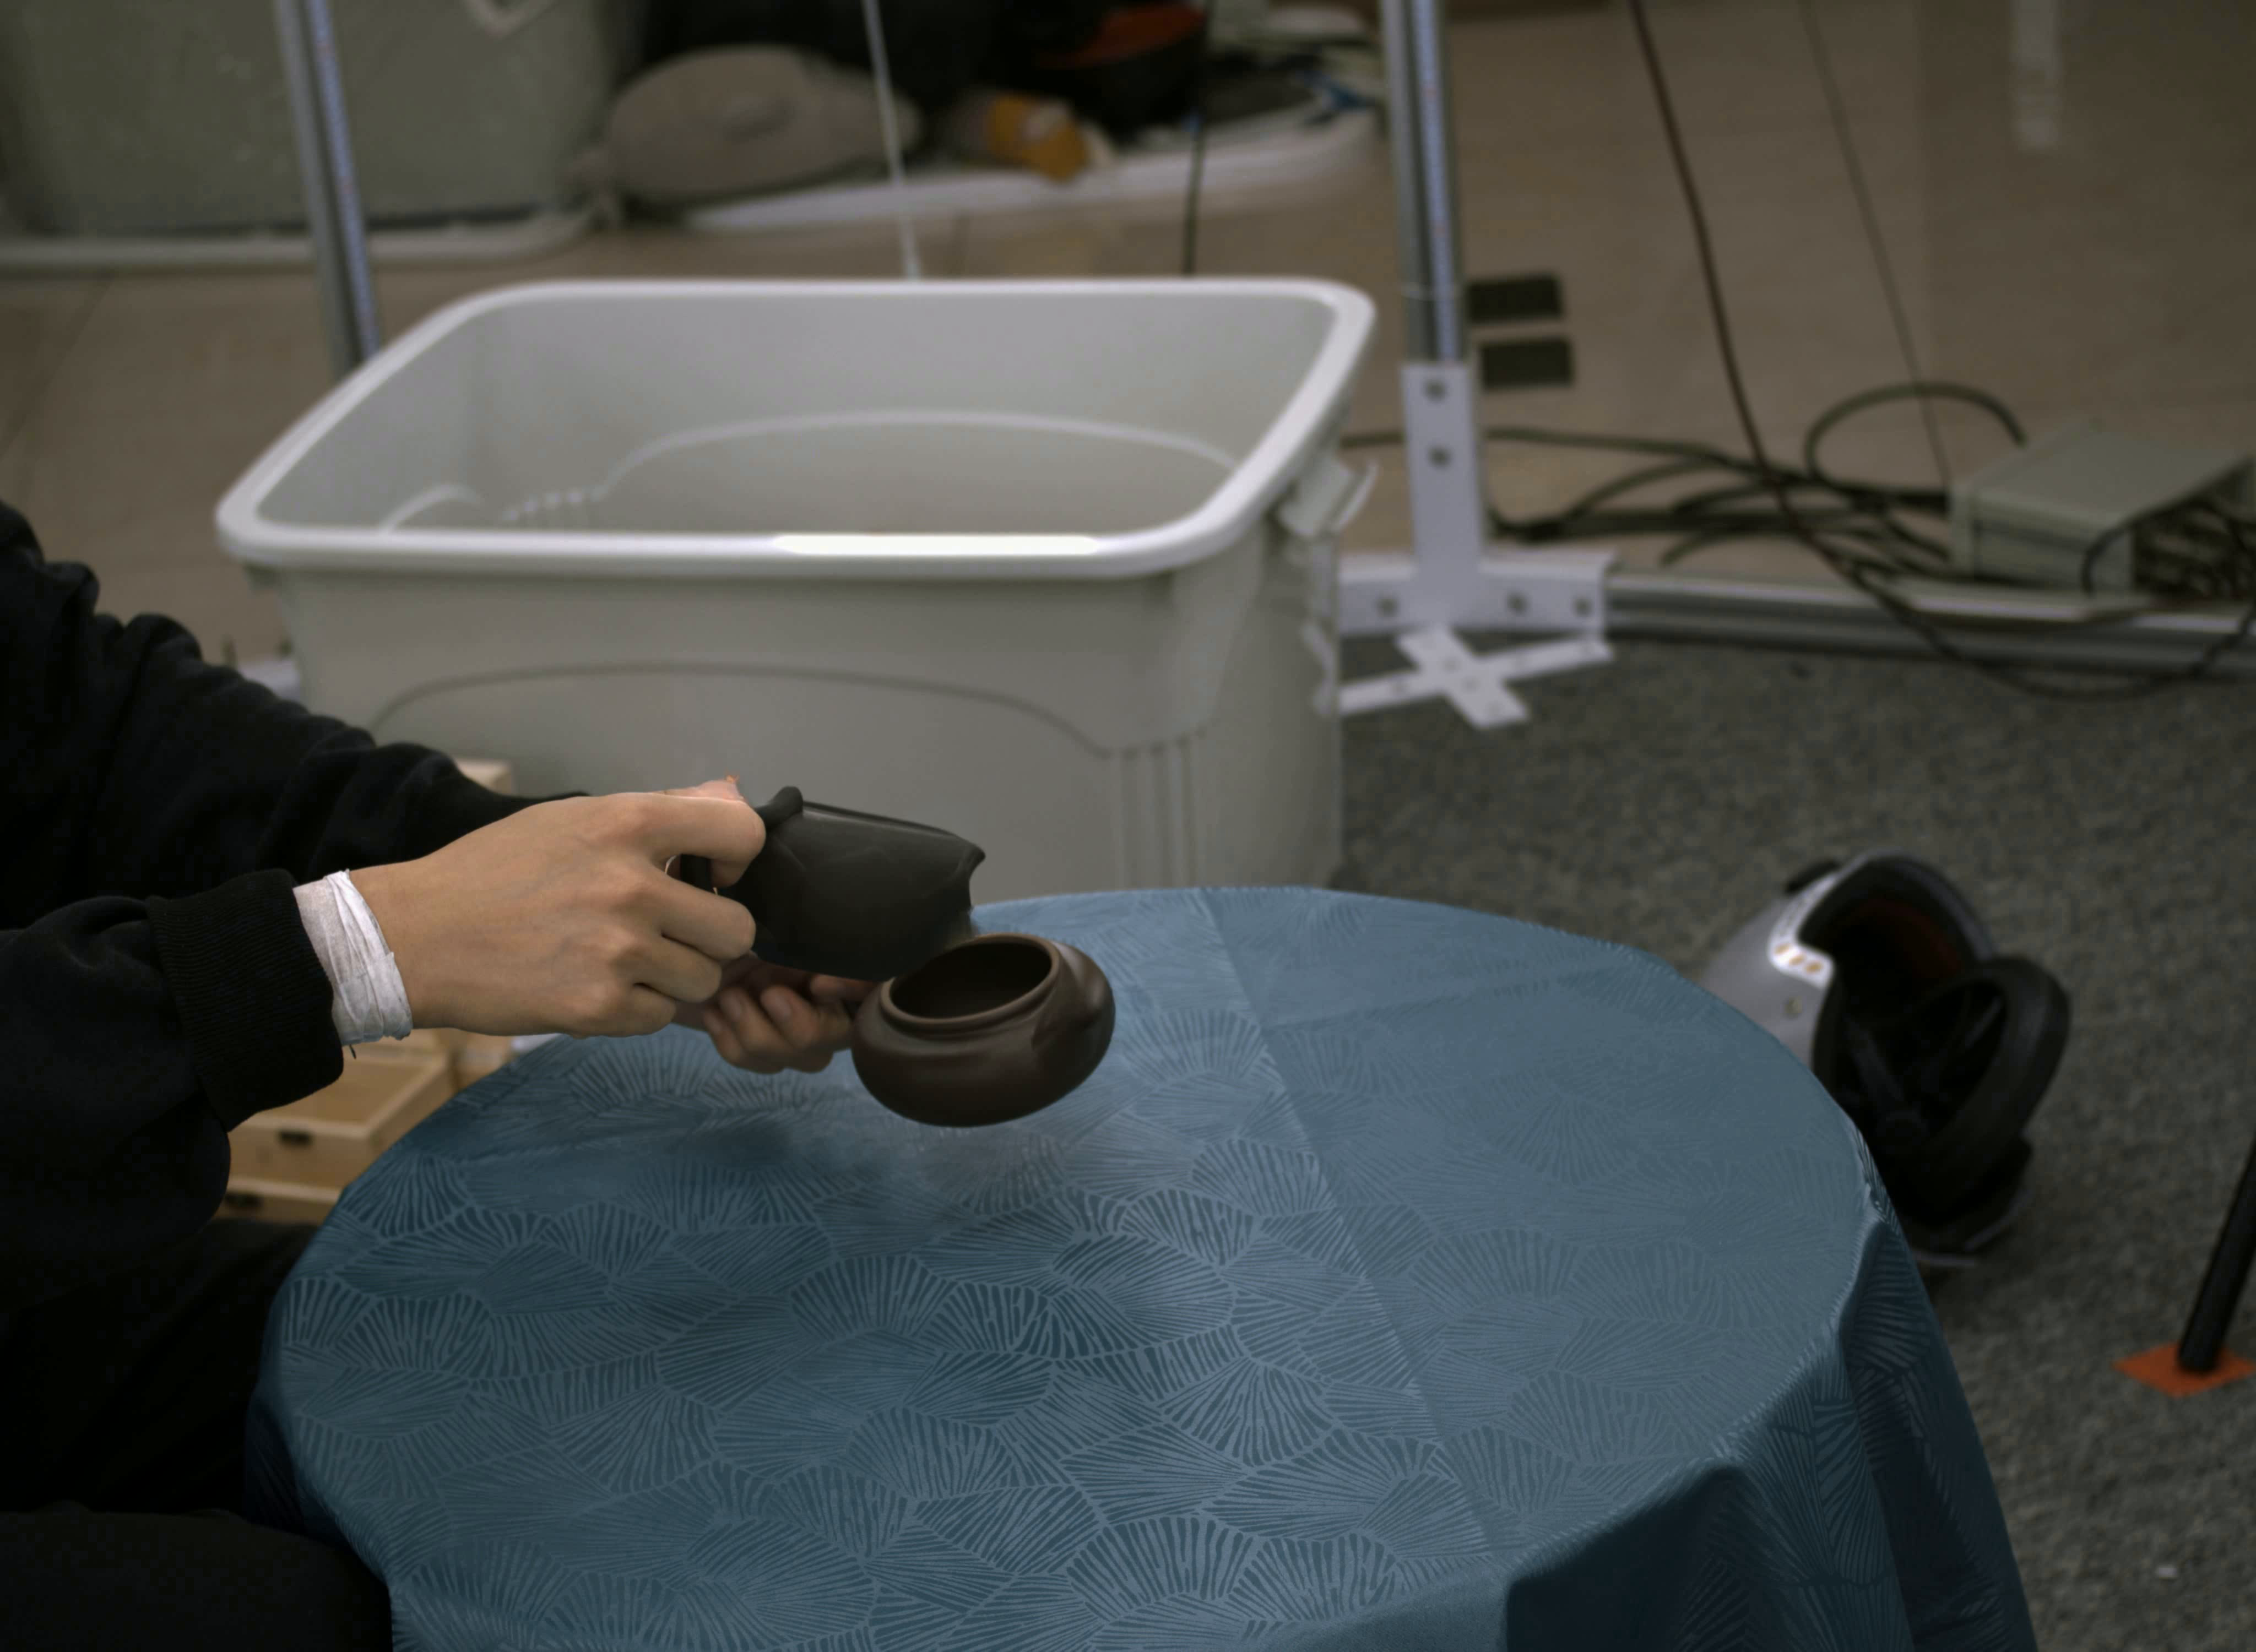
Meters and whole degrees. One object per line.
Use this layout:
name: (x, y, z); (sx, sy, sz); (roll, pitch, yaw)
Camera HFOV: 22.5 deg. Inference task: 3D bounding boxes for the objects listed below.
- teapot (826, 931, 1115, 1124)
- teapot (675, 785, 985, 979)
teapot: (-0.059, 0.074, 2.163); (0.152, 0.054, 0.101); (12, 34, 39)
teapot: (-0.107, 0.020, 2.044); (0.092, 0.064, 0.154); (10, 1, 41)
